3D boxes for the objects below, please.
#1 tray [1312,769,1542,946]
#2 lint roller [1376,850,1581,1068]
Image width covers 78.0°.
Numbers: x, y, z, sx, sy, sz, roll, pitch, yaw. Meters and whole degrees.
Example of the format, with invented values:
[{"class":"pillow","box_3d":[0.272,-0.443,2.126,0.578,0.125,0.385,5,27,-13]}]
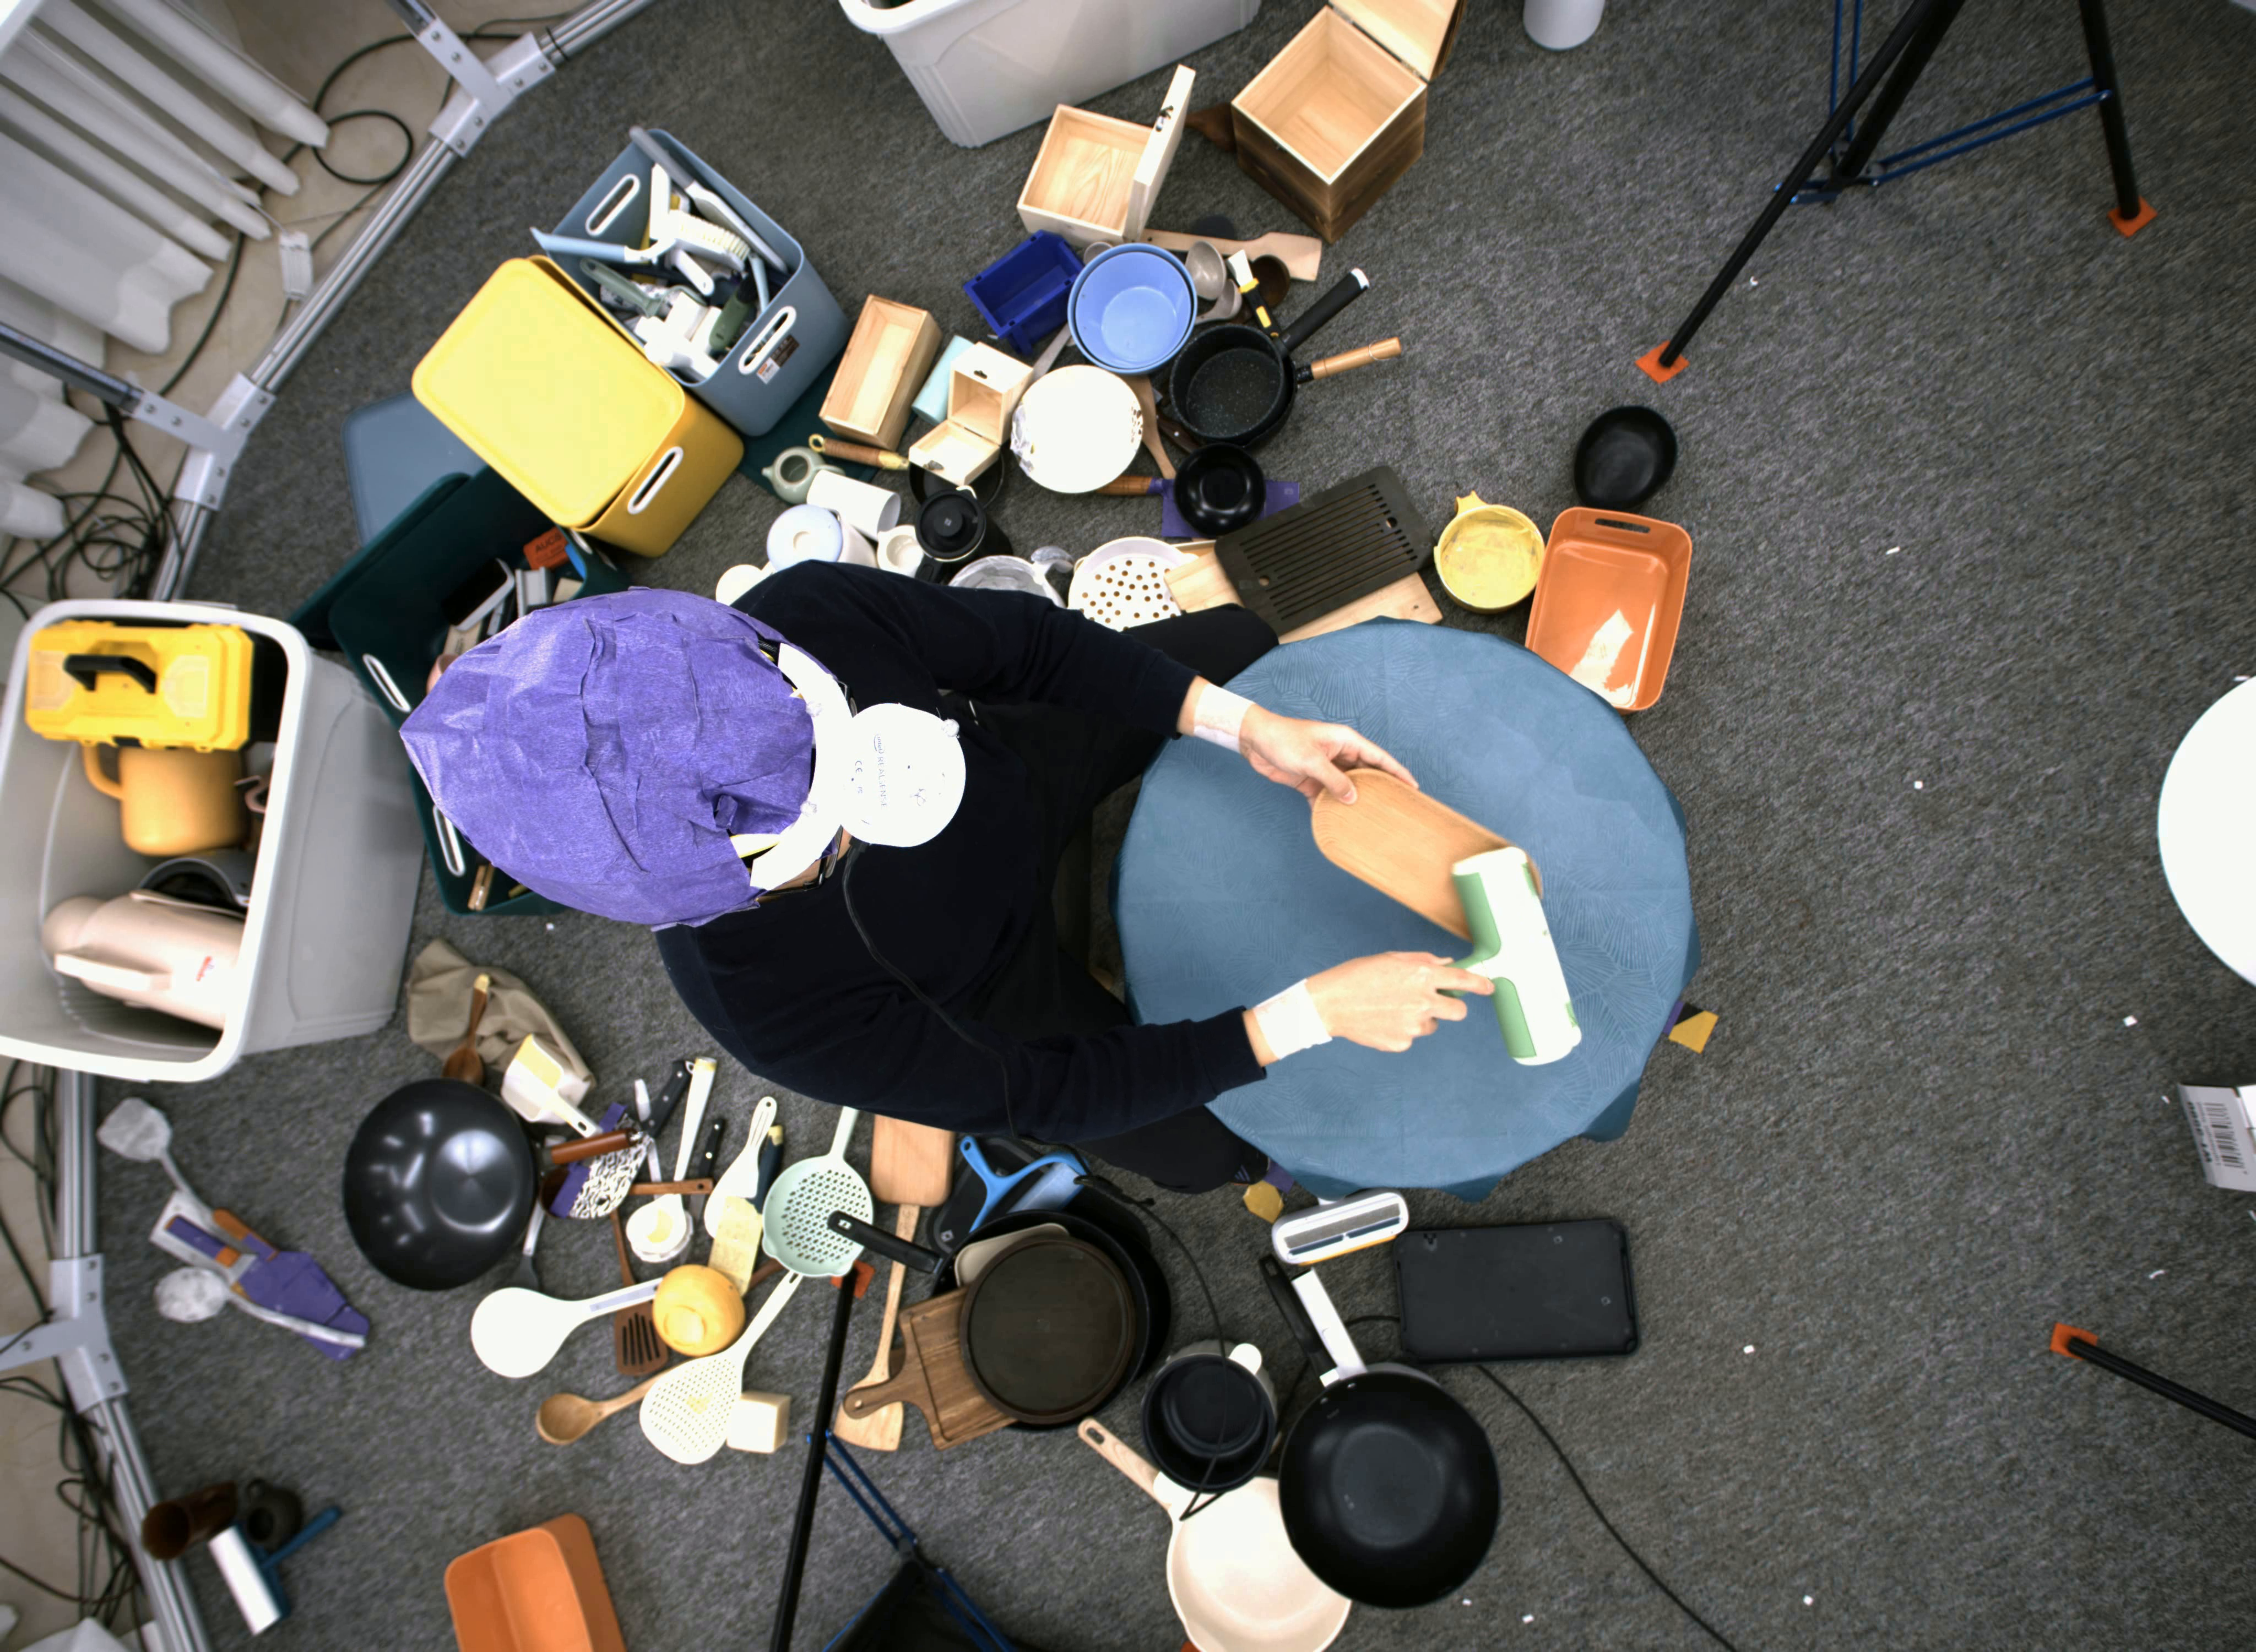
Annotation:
[{"class":"tray","box_3d":[0.282,0.028,1.302,0.231,0.020,0.103,30,106,5]},{"class":"lint roller","box_3d":[0.313,0.137,1.236,0.181,0.083,0.199,-21,95,-23]}]
